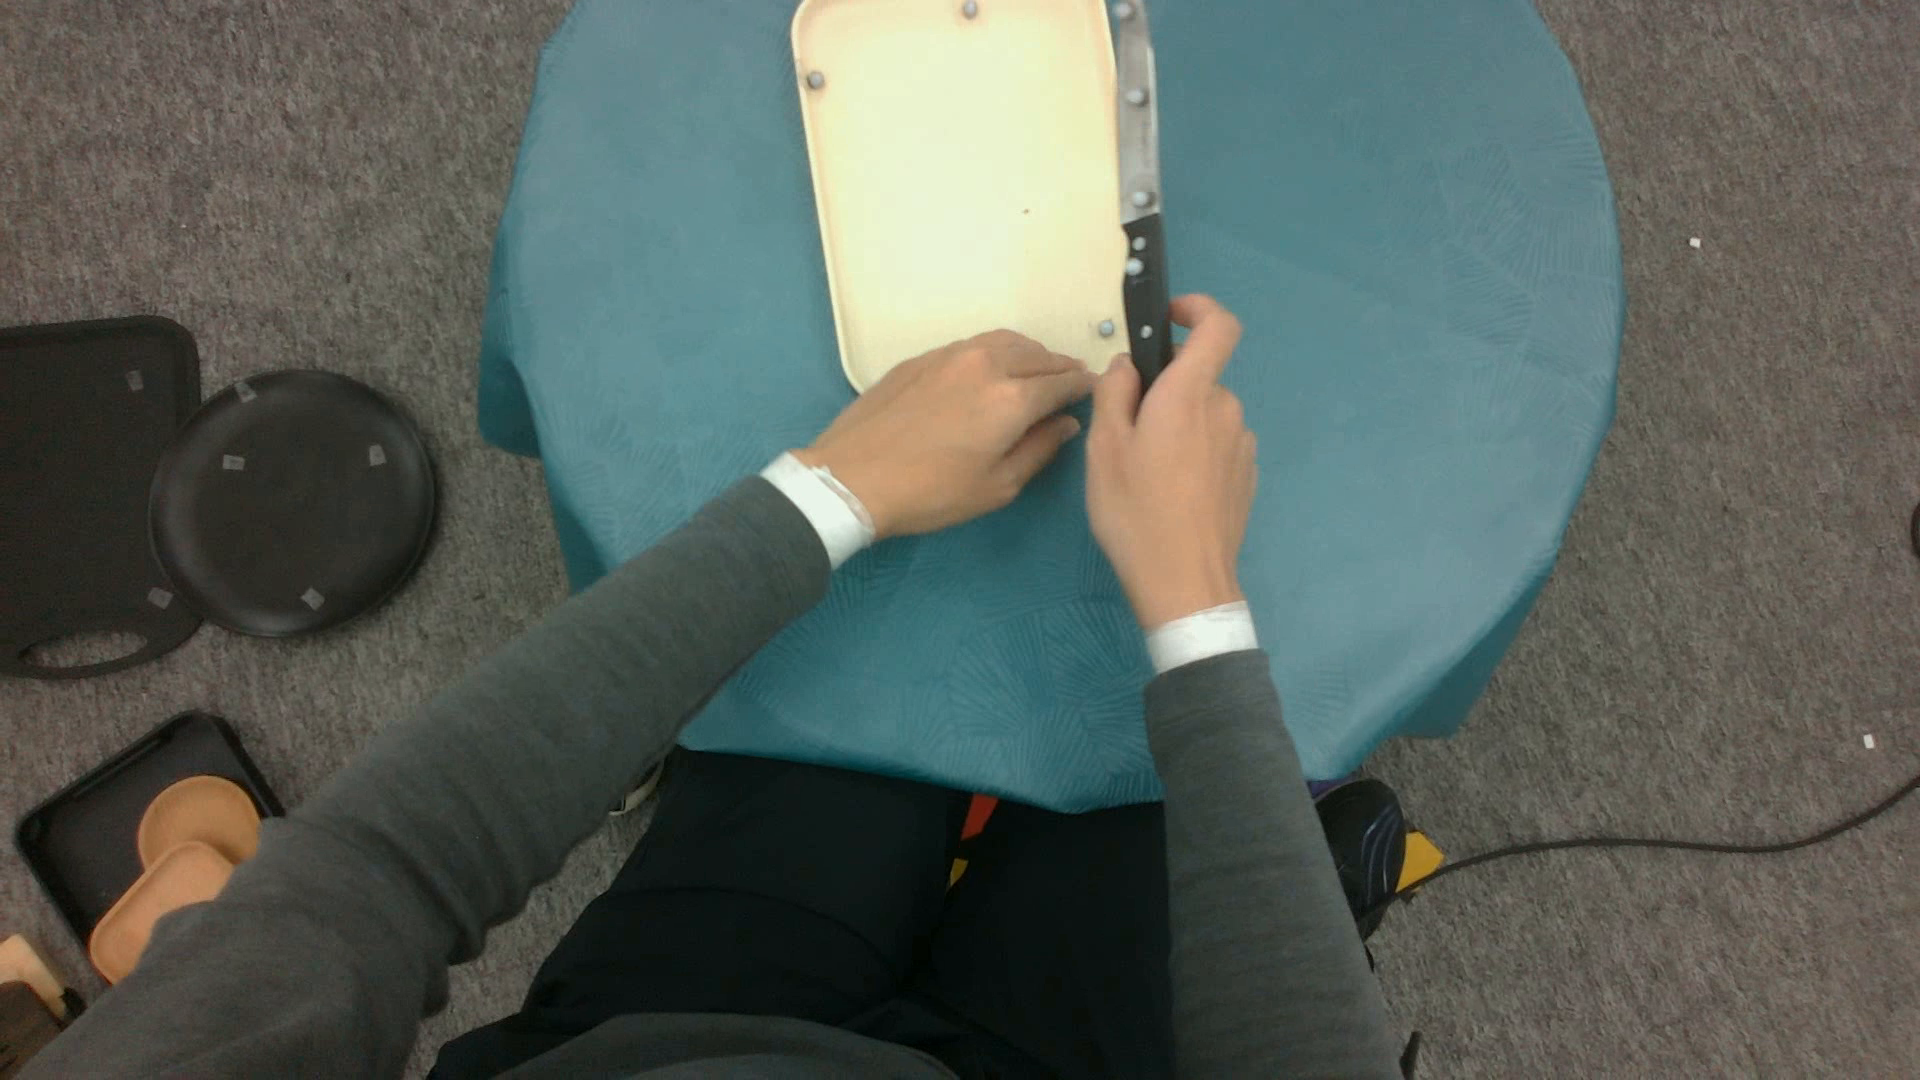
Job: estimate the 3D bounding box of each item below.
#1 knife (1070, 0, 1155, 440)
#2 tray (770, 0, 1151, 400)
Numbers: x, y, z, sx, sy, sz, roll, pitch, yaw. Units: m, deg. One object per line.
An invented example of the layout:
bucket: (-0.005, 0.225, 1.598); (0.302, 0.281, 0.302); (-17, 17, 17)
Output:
knife: (0.070, -0.165, 0.645); (0.024, 0.016, 0.238); (-10, 83, 39)
tray: (-0.001, -0.196, 0.728); (0.171, 0.017, 0.240); (-9, 81, -7)
